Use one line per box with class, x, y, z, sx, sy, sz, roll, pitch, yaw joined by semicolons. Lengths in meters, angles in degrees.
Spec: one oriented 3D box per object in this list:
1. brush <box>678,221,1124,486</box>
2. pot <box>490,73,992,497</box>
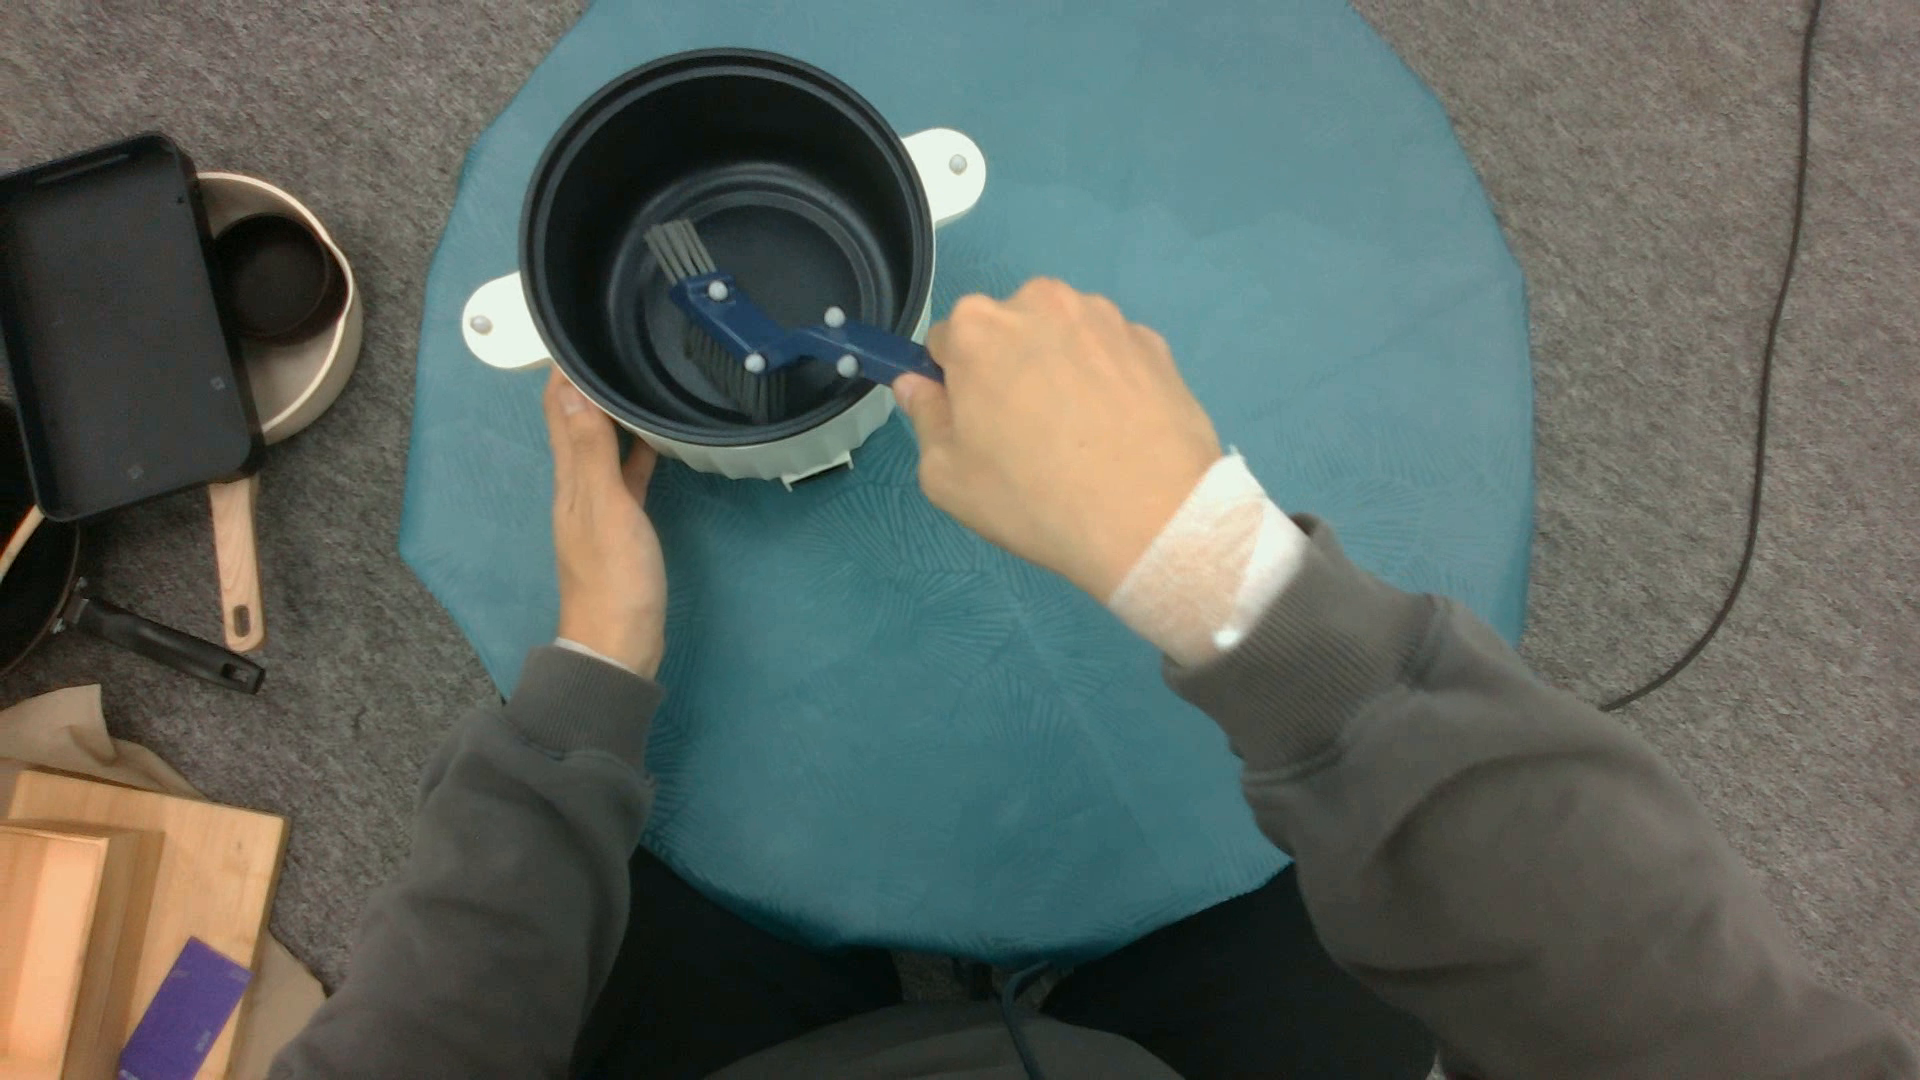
brush;-0.041;-0.081;0.576;0.033;0.273;0.095;-17;112;-37
pot;-0.103;-0.121;0.686;0.240;0.142;0.190;-21;86;-5
